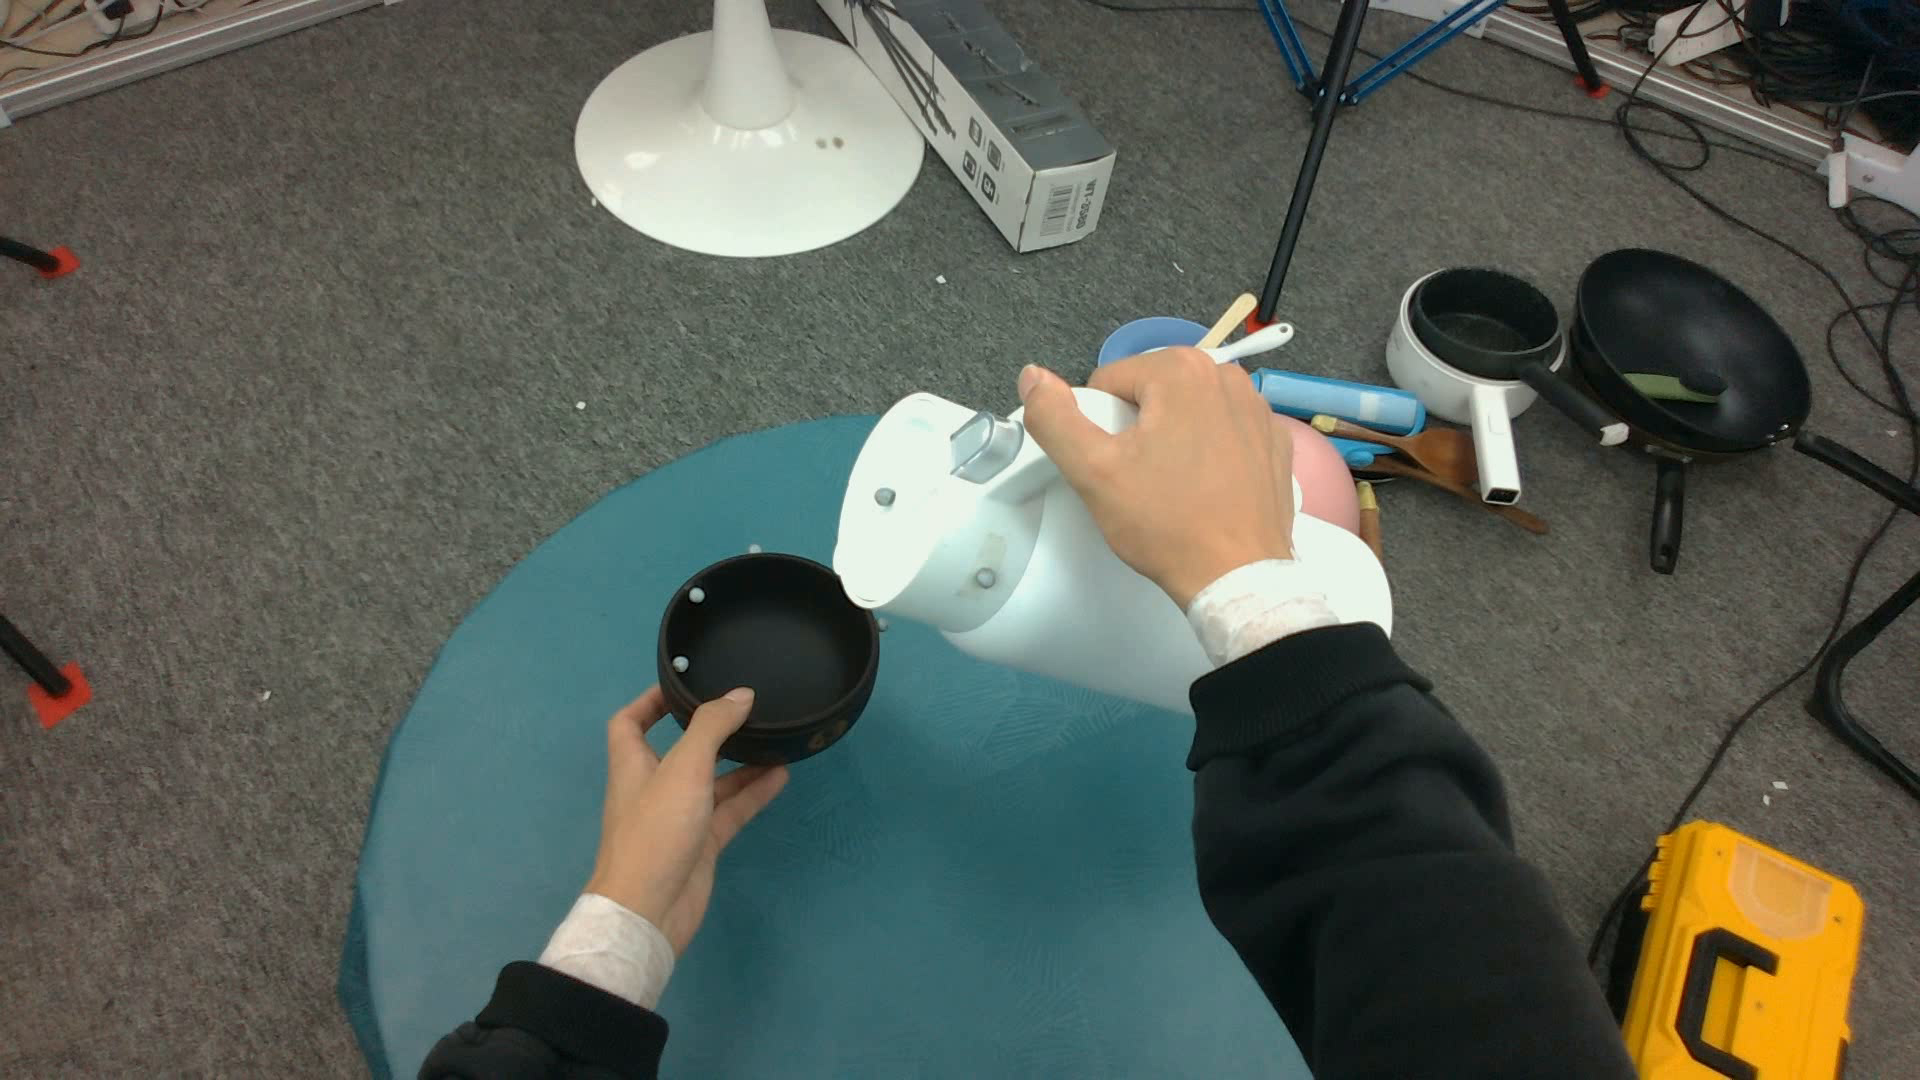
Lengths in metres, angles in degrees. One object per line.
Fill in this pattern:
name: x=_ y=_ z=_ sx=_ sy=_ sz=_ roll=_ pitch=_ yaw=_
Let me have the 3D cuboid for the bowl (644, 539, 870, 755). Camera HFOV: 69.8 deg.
bowl: x=-0.110 y=0.064 z=0.744 sx=0.118 sy=0.069 sz=0.118 roll=7 pitch=50 yaw=-8

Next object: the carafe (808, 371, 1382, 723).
carafe: x=0.084 y=0.001 z=0.656 sx=0.269 sy=0.172 sz=0.124 roll=19 pitch=55 yaw=-30
